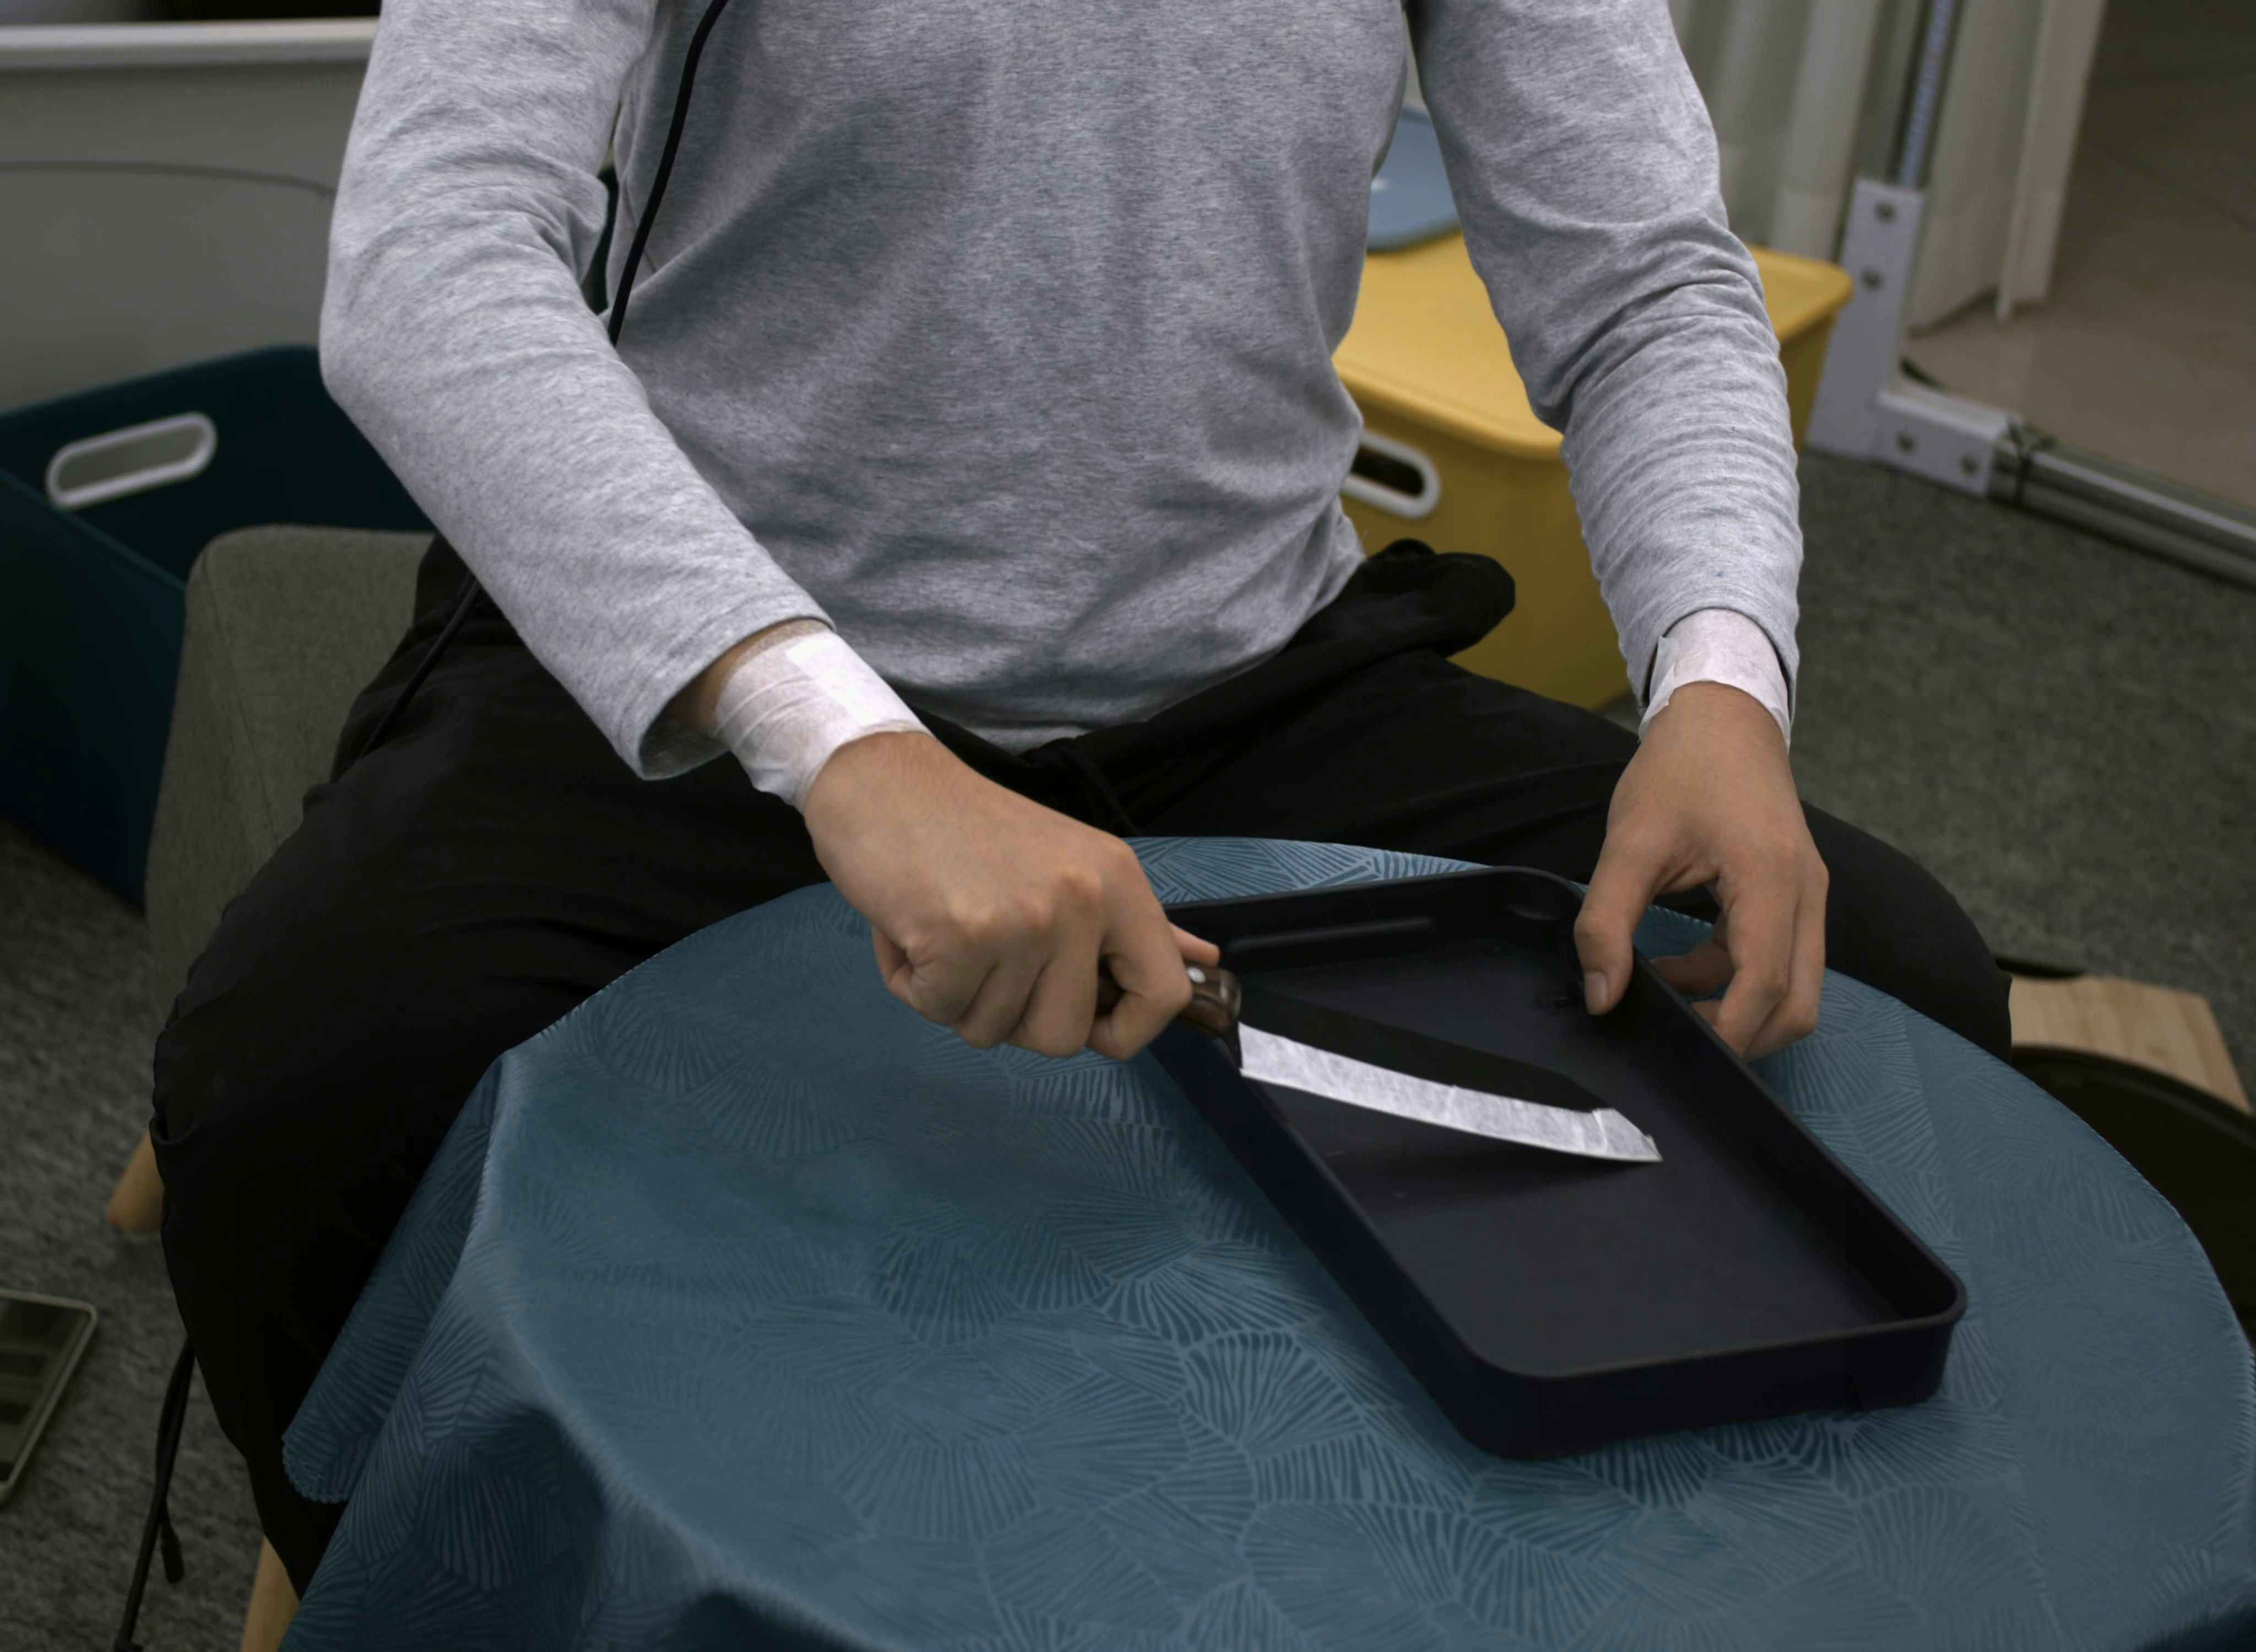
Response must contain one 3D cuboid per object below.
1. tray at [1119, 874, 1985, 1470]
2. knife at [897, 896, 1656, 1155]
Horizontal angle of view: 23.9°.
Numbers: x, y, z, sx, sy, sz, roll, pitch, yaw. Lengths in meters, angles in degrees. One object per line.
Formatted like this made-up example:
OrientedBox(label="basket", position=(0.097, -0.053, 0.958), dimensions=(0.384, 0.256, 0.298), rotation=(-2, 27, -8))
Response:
OrientedBox(label="tray", position=(0.137, 0.111, 1.822), dimensions=(0.183, 0.037, 0.321), rotation=(-7, 29, -24))
OrientedBox(label="knife", position=(0.054, 0.071, 1.813), dimensions=(0.287, 0.020, 0.050), rotation=(17, 41, -19))
